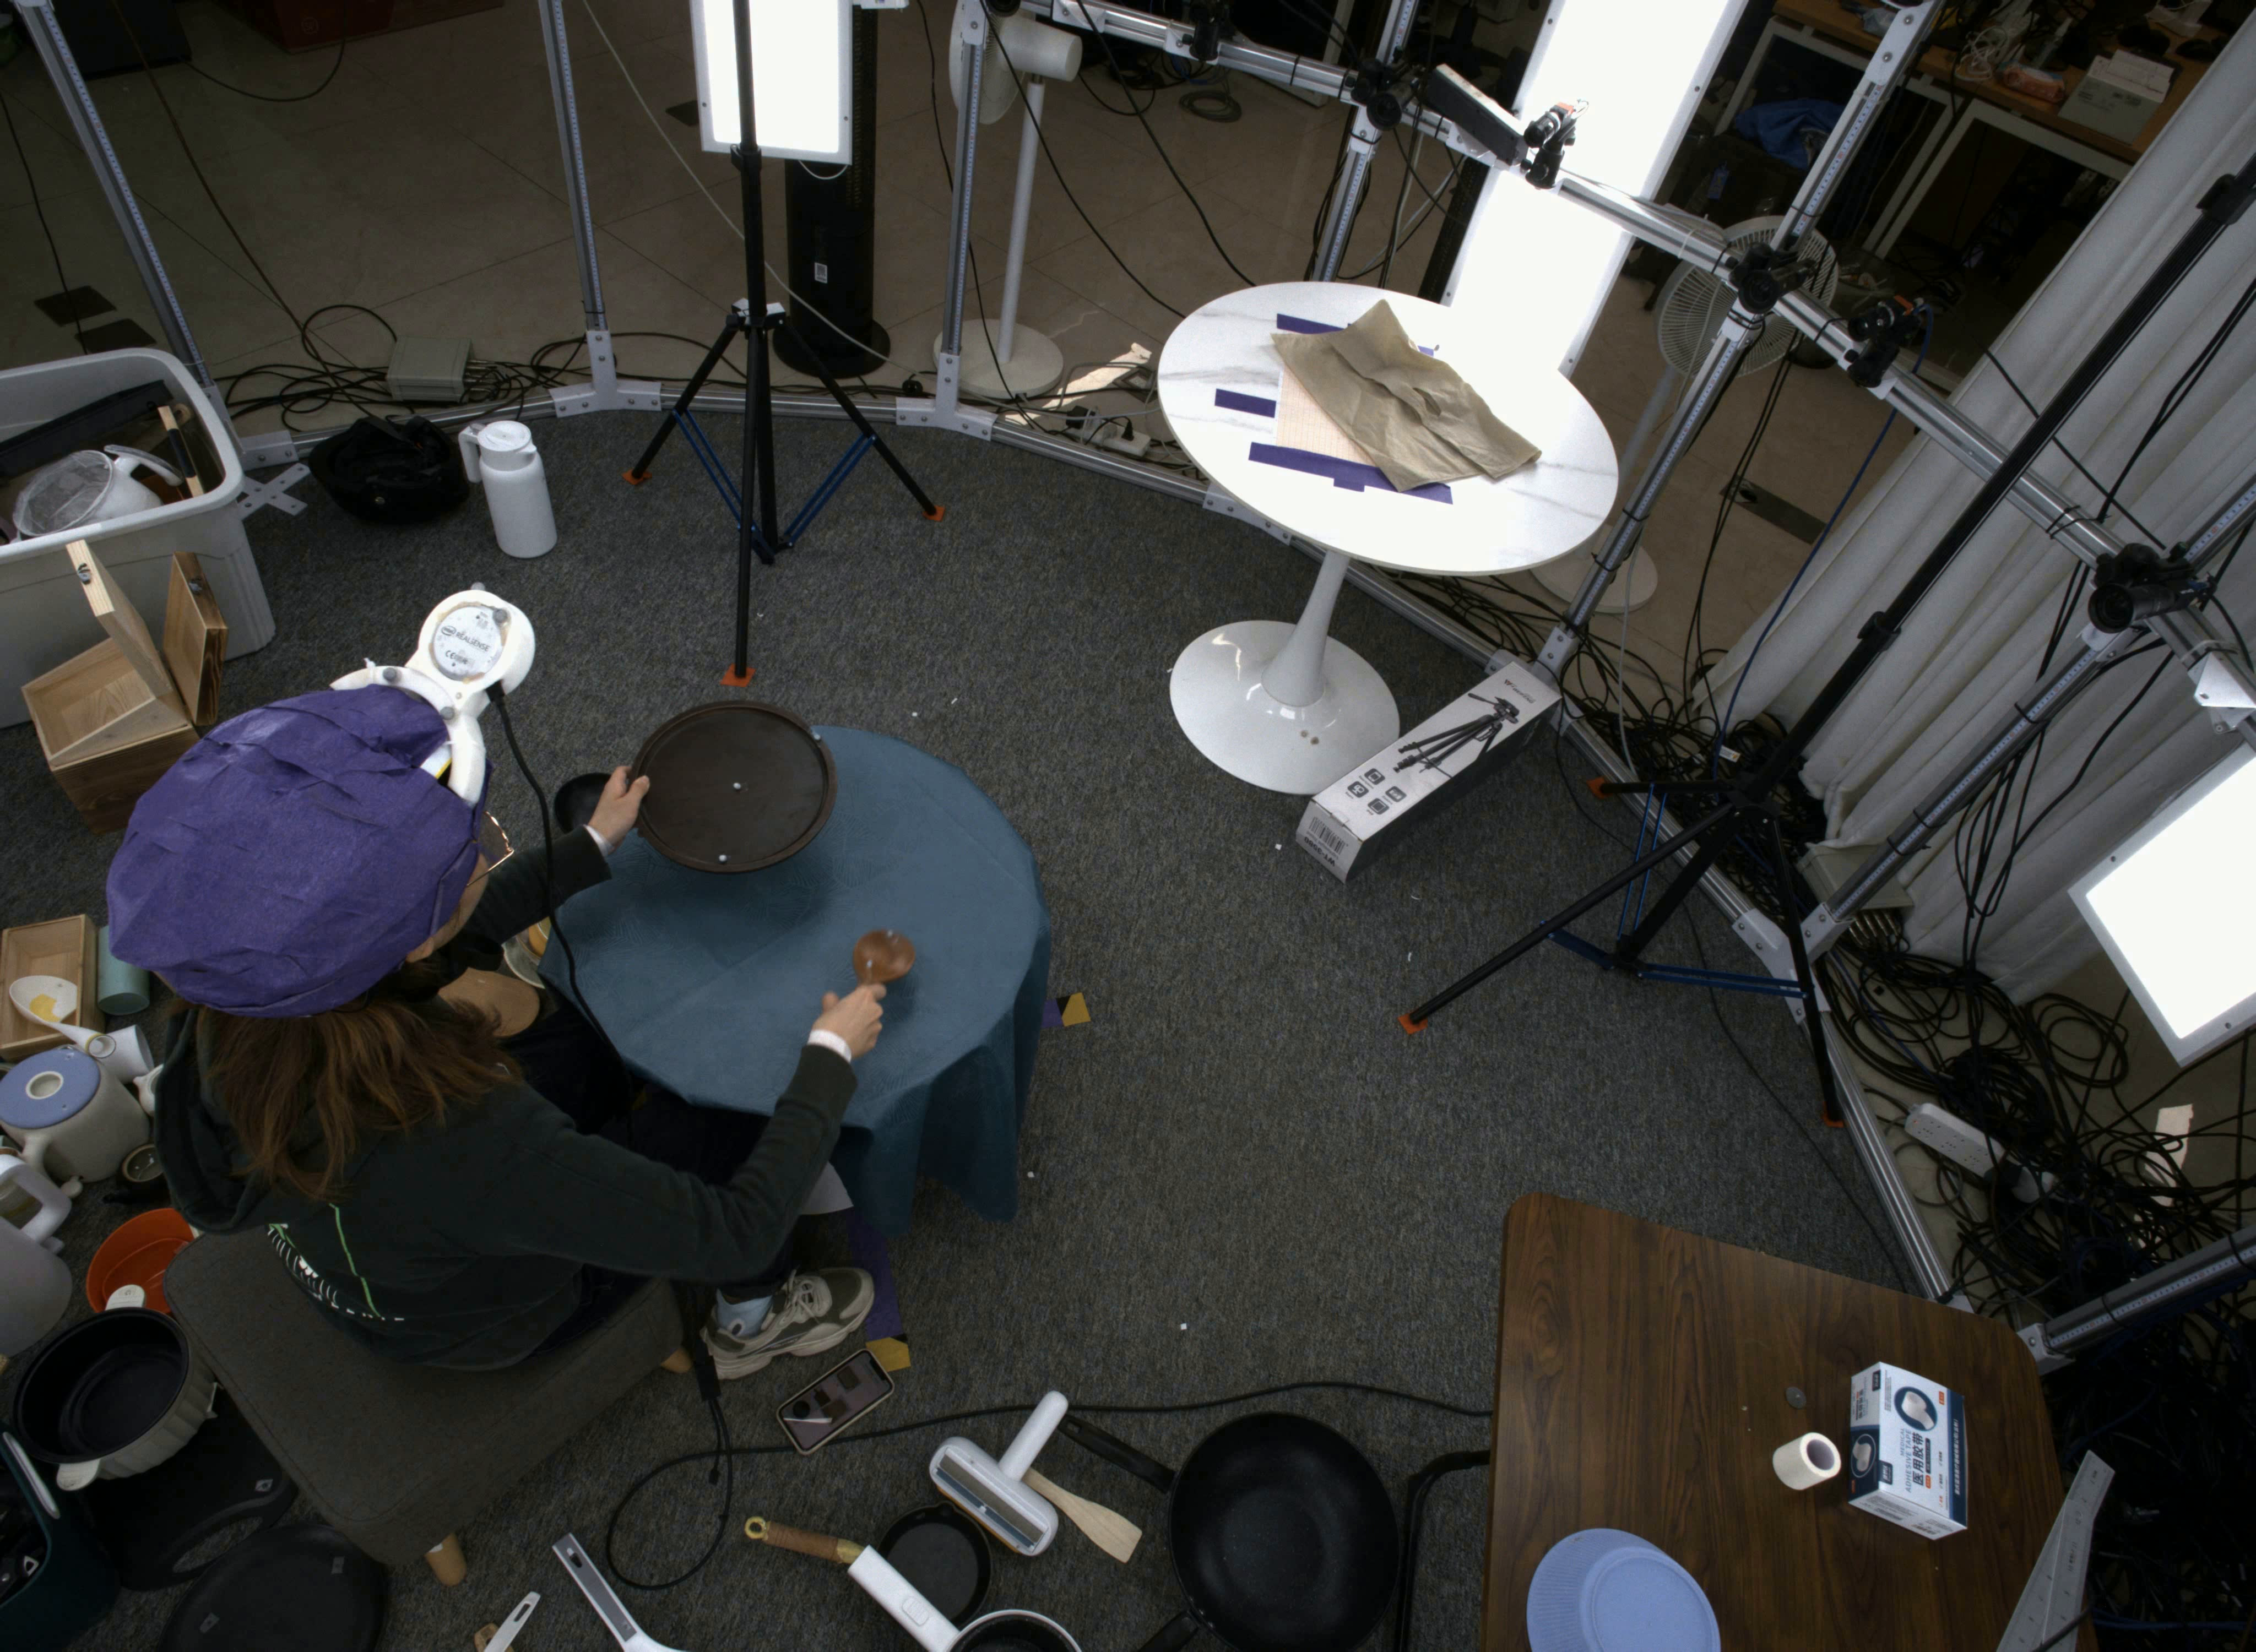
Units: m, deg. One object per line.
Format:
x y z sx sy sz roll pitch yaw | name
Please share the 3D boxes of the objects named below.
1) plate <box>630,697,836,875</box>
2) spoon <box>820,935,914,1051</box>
-0.488 -0.052 1.597 0.254 0.029 0.251 7 59 -9 | plate
-0.311 0.192 1.518 0.075 0.017 0.213 23 30 0 | spoon
